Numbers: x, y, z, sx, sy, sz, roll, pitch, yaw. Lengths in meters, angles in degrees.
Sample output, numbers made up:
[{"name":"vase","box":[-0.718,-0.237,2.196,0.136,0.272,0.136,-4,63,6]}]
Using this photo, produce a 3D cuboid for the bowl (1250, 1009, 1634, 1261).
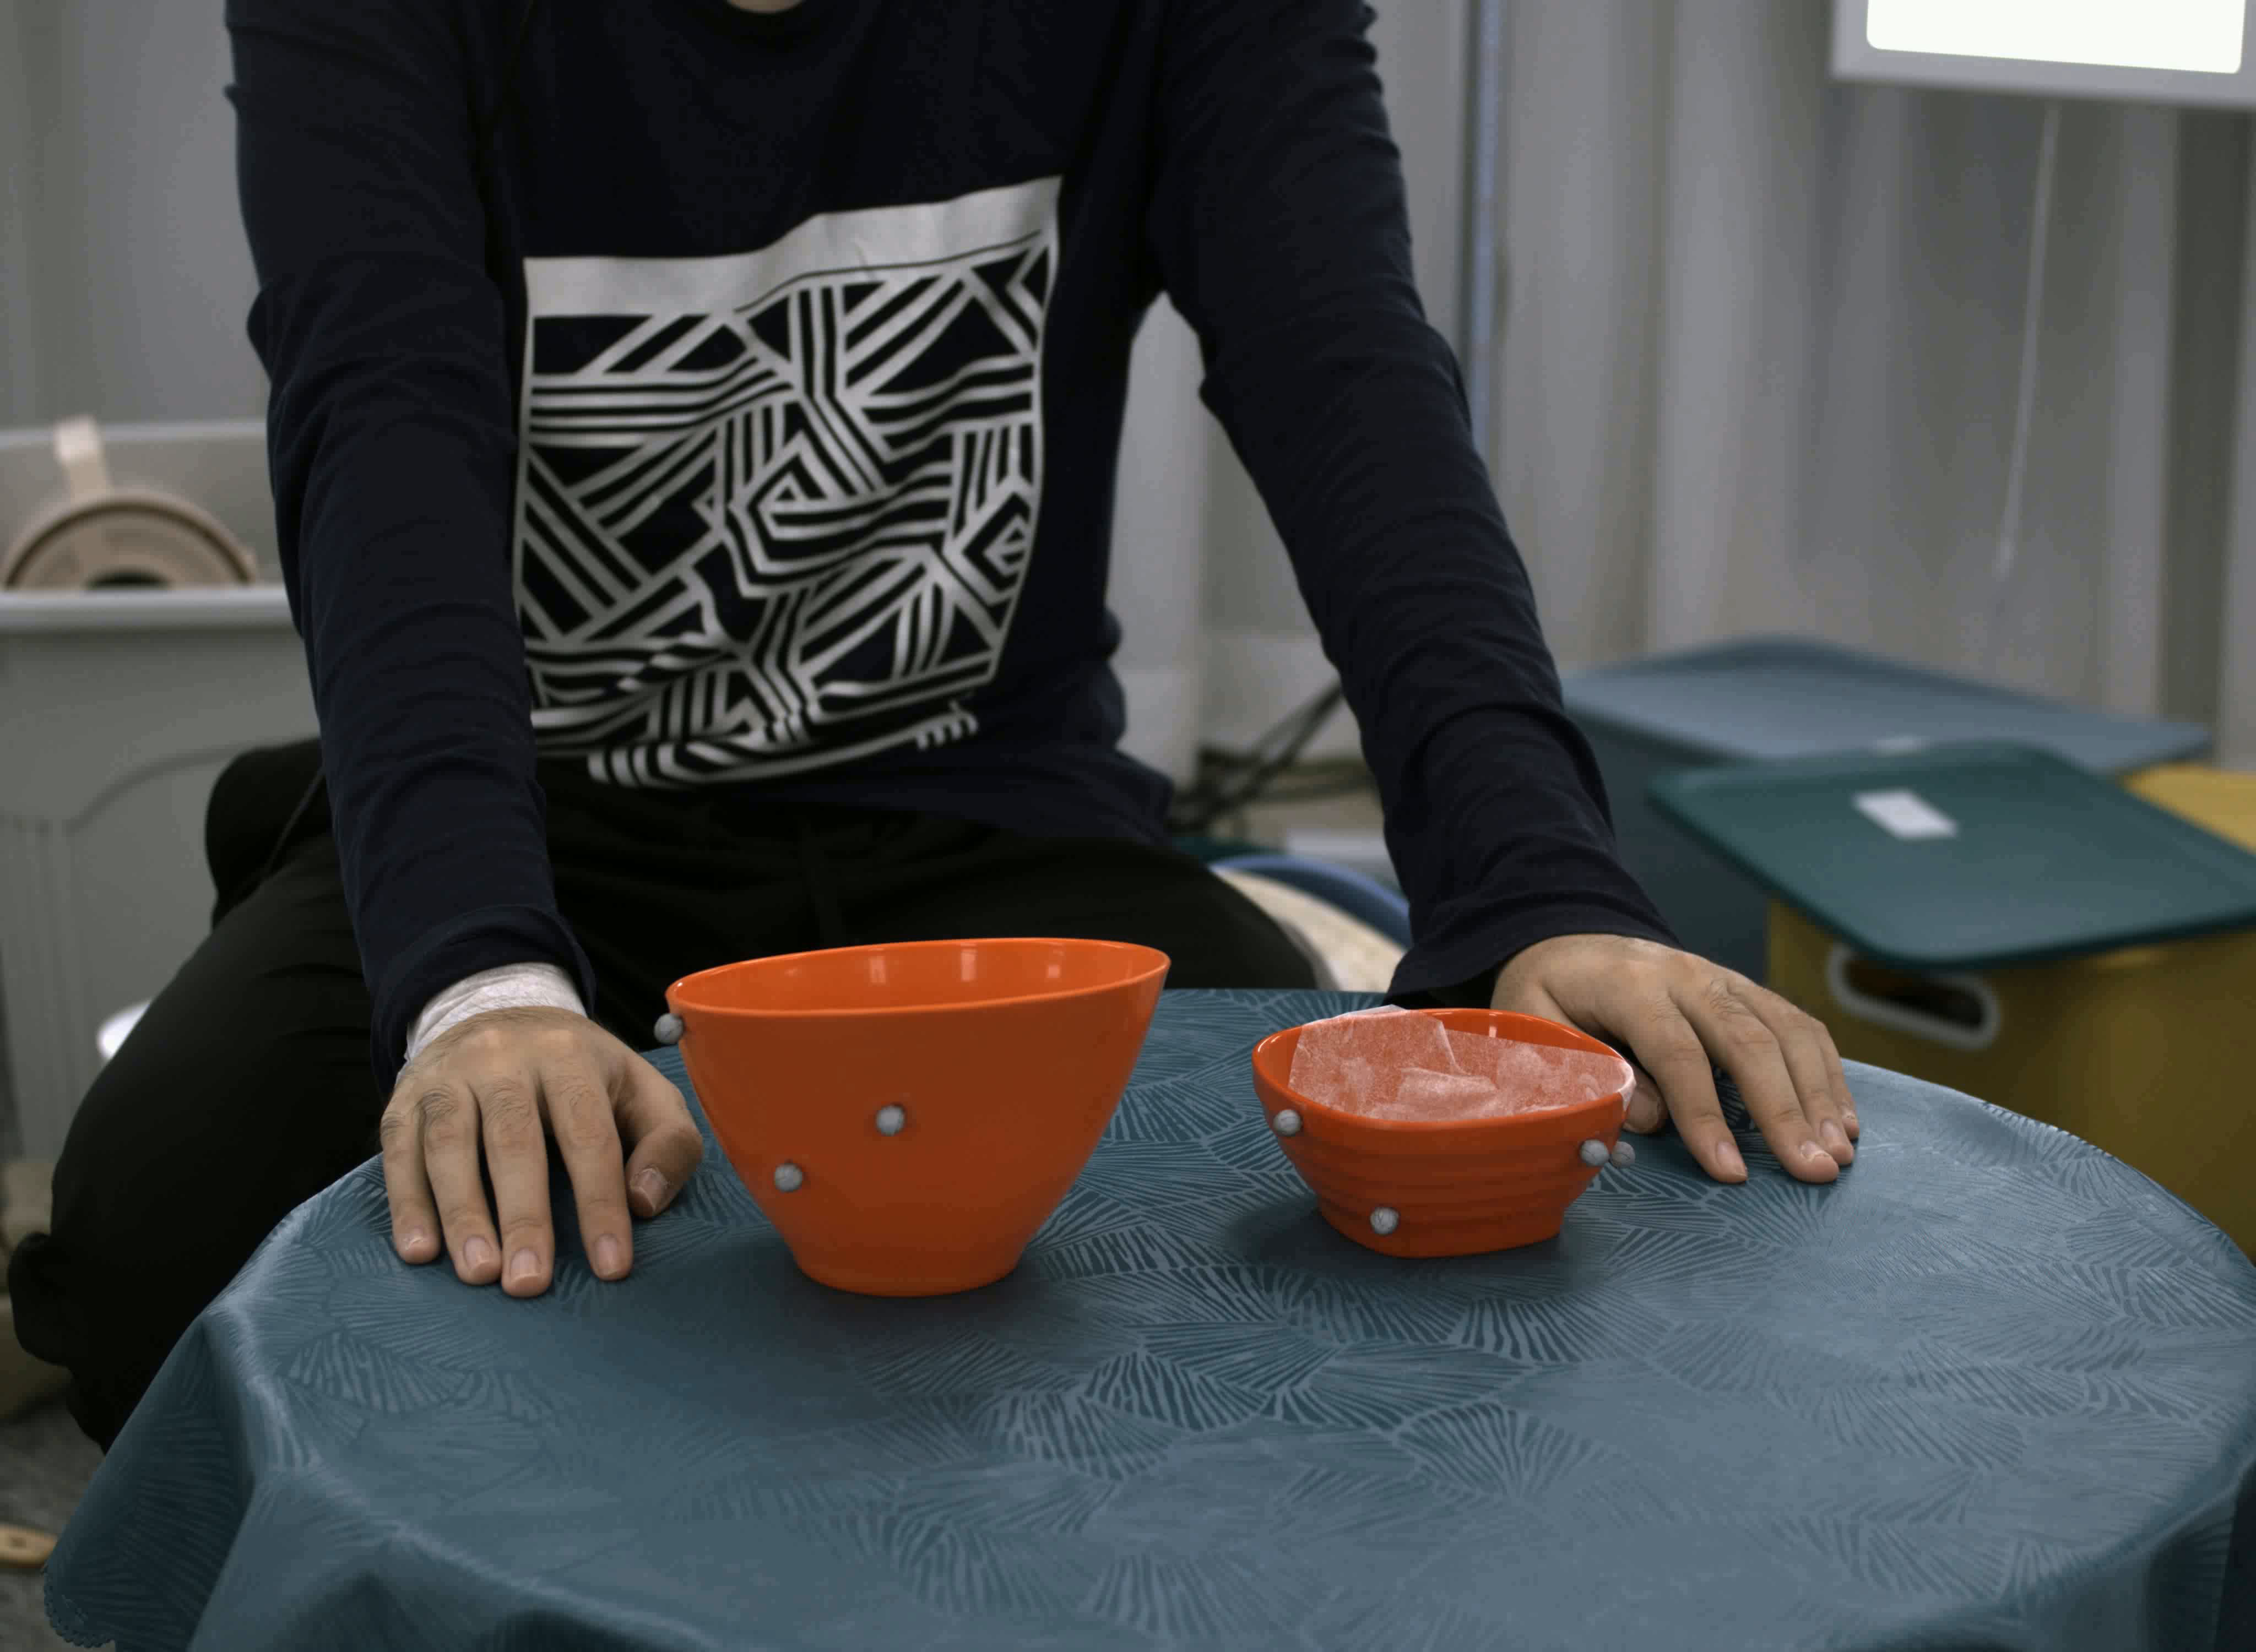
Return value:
[{"name":"bowl","box":[0.095,0.095,1.597,0.118,0.052,0.118,-1,15,1]}]

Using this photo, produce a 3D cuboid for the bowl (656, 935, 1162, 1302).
[{"name":"bowl","box":[-0.064,0.083,1.540,0.147,0.105,0.147,0,16,1]}]
